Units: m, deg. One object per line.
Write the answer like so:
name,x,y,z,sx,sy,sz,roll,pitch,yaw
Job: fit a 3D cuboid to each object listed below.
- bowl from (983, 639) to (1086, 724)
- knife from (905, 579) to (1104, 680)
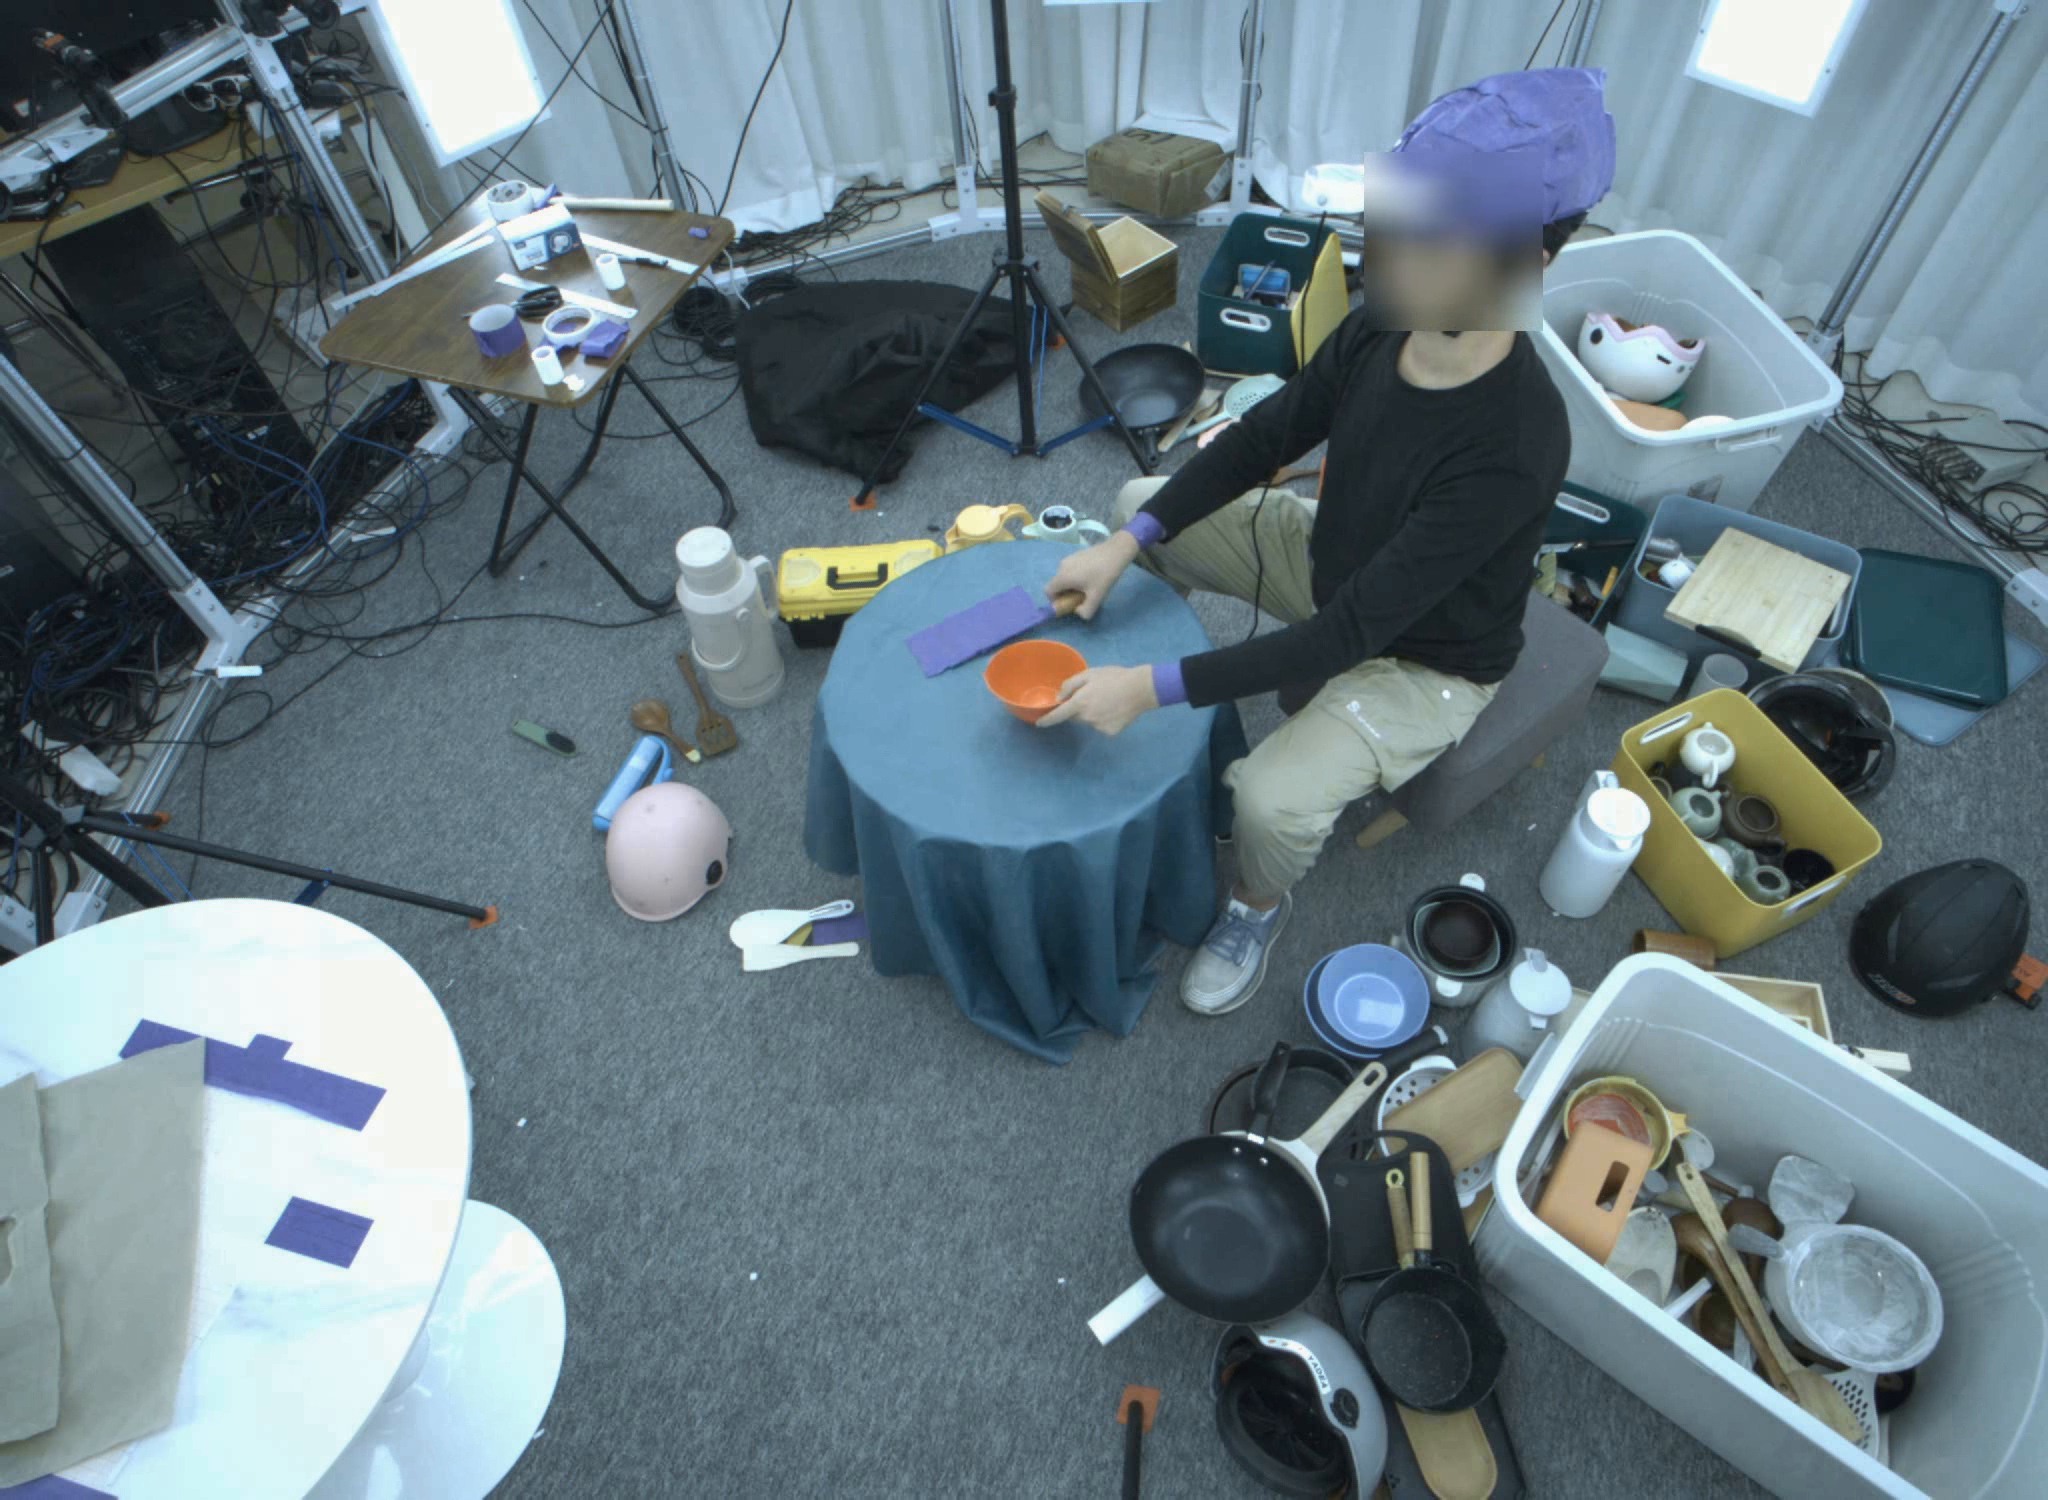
bowl,0.019,-0.086,1.781,0.148,0.106,0.146,-2,53,4
knife,-0.033,-0.210,1.909,0.317,0.032,0.102,-26,58,-12
